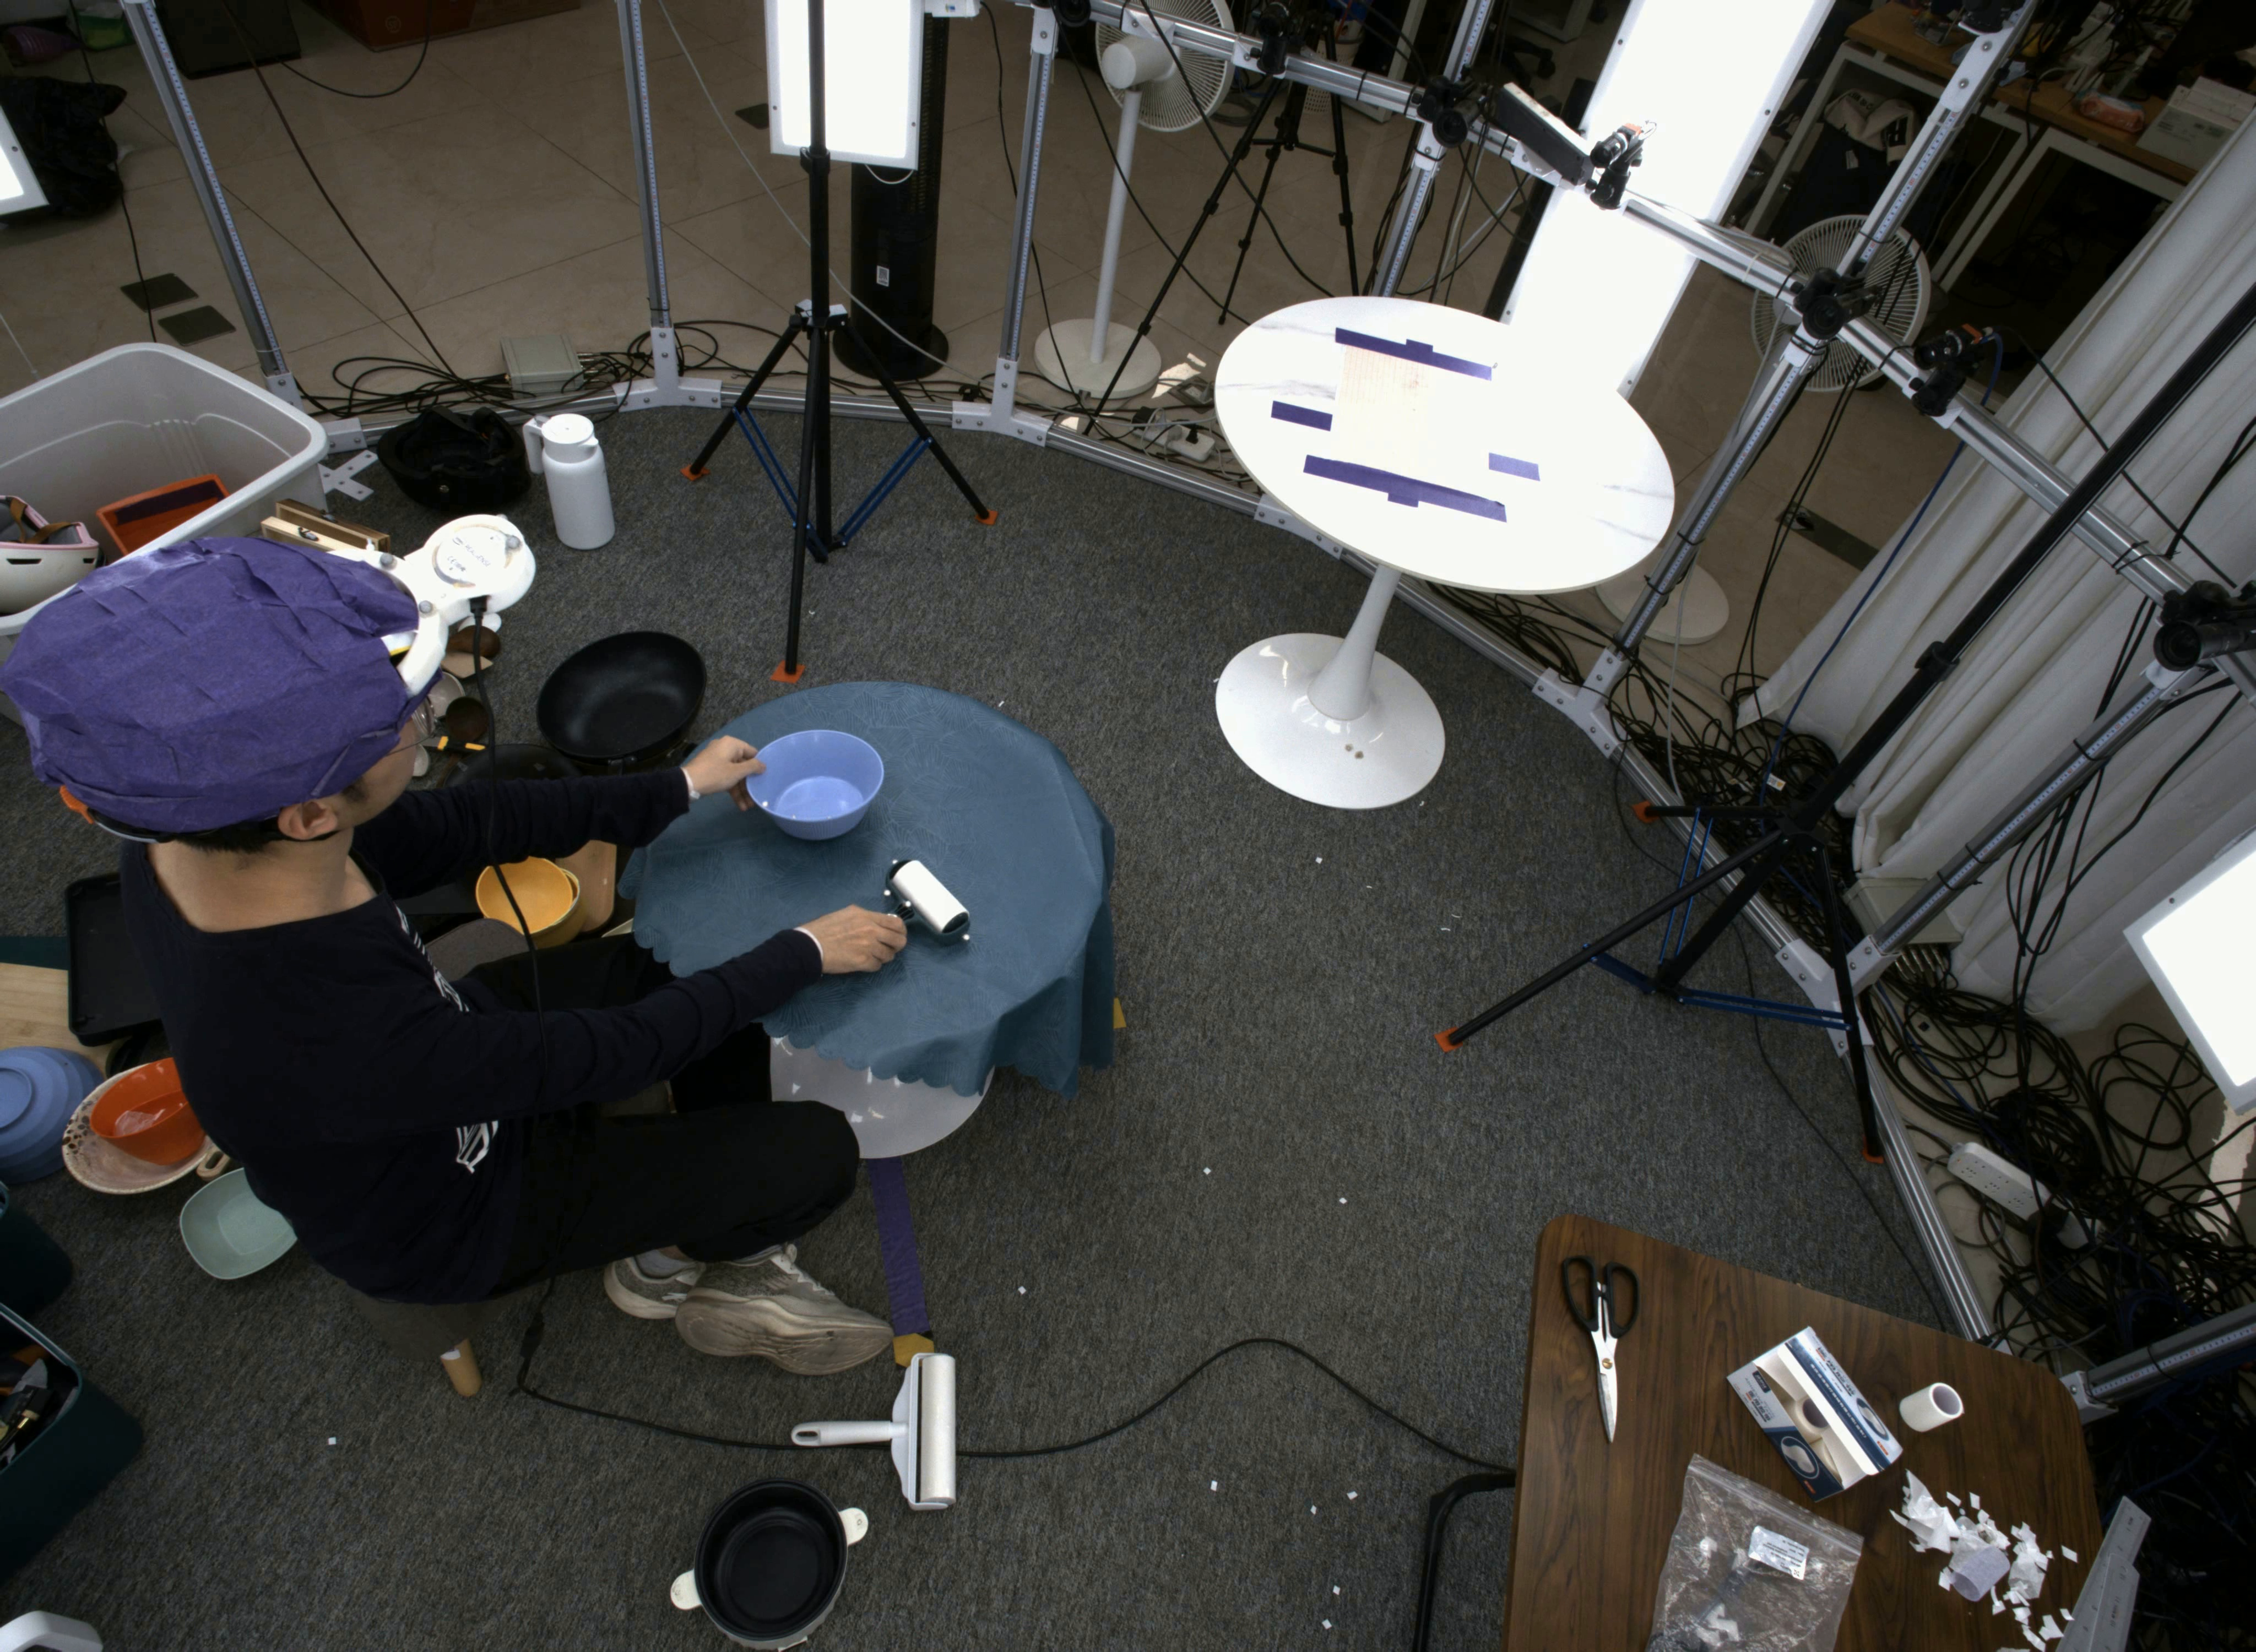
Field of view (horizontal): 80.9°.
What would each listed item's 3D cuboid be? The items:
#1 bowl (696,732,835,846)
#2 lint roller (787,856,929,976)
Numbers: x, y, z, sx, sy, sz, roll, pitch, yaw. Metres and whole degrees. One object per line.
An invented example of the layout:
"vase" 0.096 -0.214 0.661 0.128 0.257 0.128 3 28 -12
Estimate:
"bowl" -0.469 -0.039 1.688 0.175 0.072 0.172 5 46 -4
"lint roller" -0.351 0.123 1.620 0.131 0.049 0.181 41 48 17
